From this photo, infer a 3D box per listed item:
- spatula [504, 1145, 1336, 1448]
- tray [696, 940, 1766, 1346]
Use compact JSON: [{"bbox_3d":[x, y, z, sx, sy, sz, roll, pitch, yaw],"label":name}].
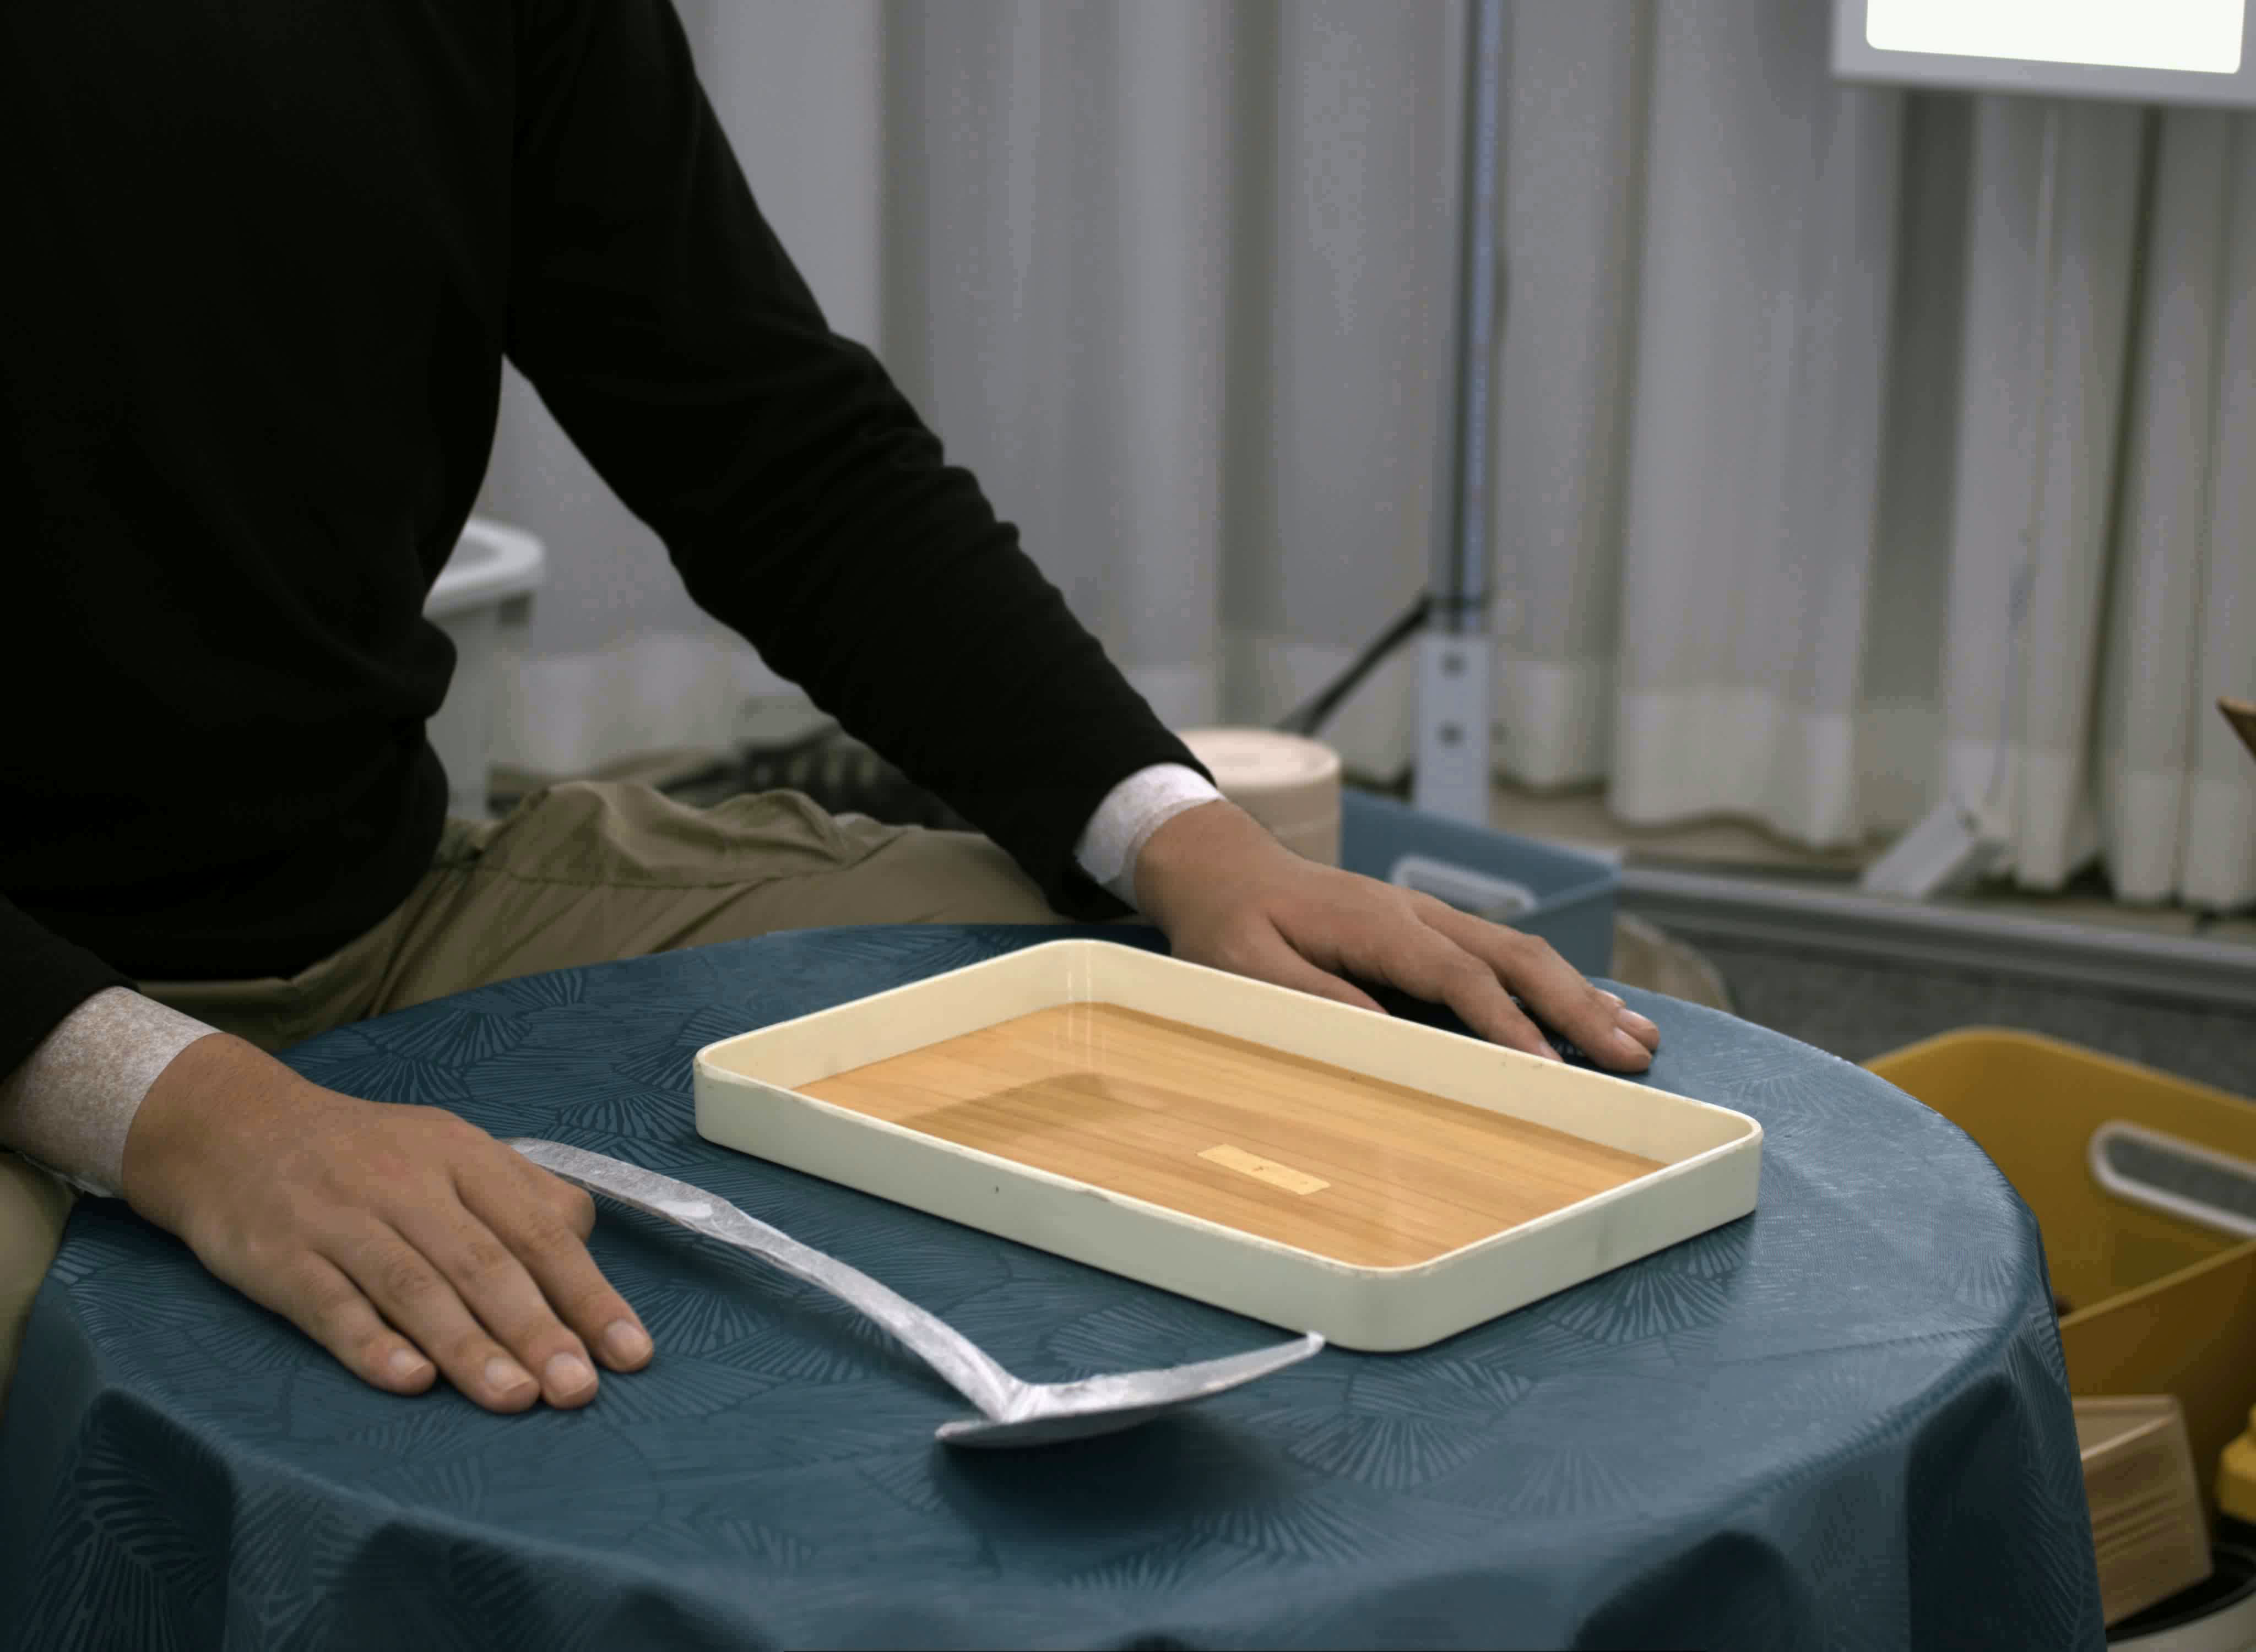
[{"bbox_3d":[-0.084,0.124,1.503,0.099,0.045,0.360,-13,20,-37],"label":"spatula"},{"bbox_3d":[0.029,0.094,1.637,0.296,0.027,0.192,14,20,41],"label":"tray"}]
